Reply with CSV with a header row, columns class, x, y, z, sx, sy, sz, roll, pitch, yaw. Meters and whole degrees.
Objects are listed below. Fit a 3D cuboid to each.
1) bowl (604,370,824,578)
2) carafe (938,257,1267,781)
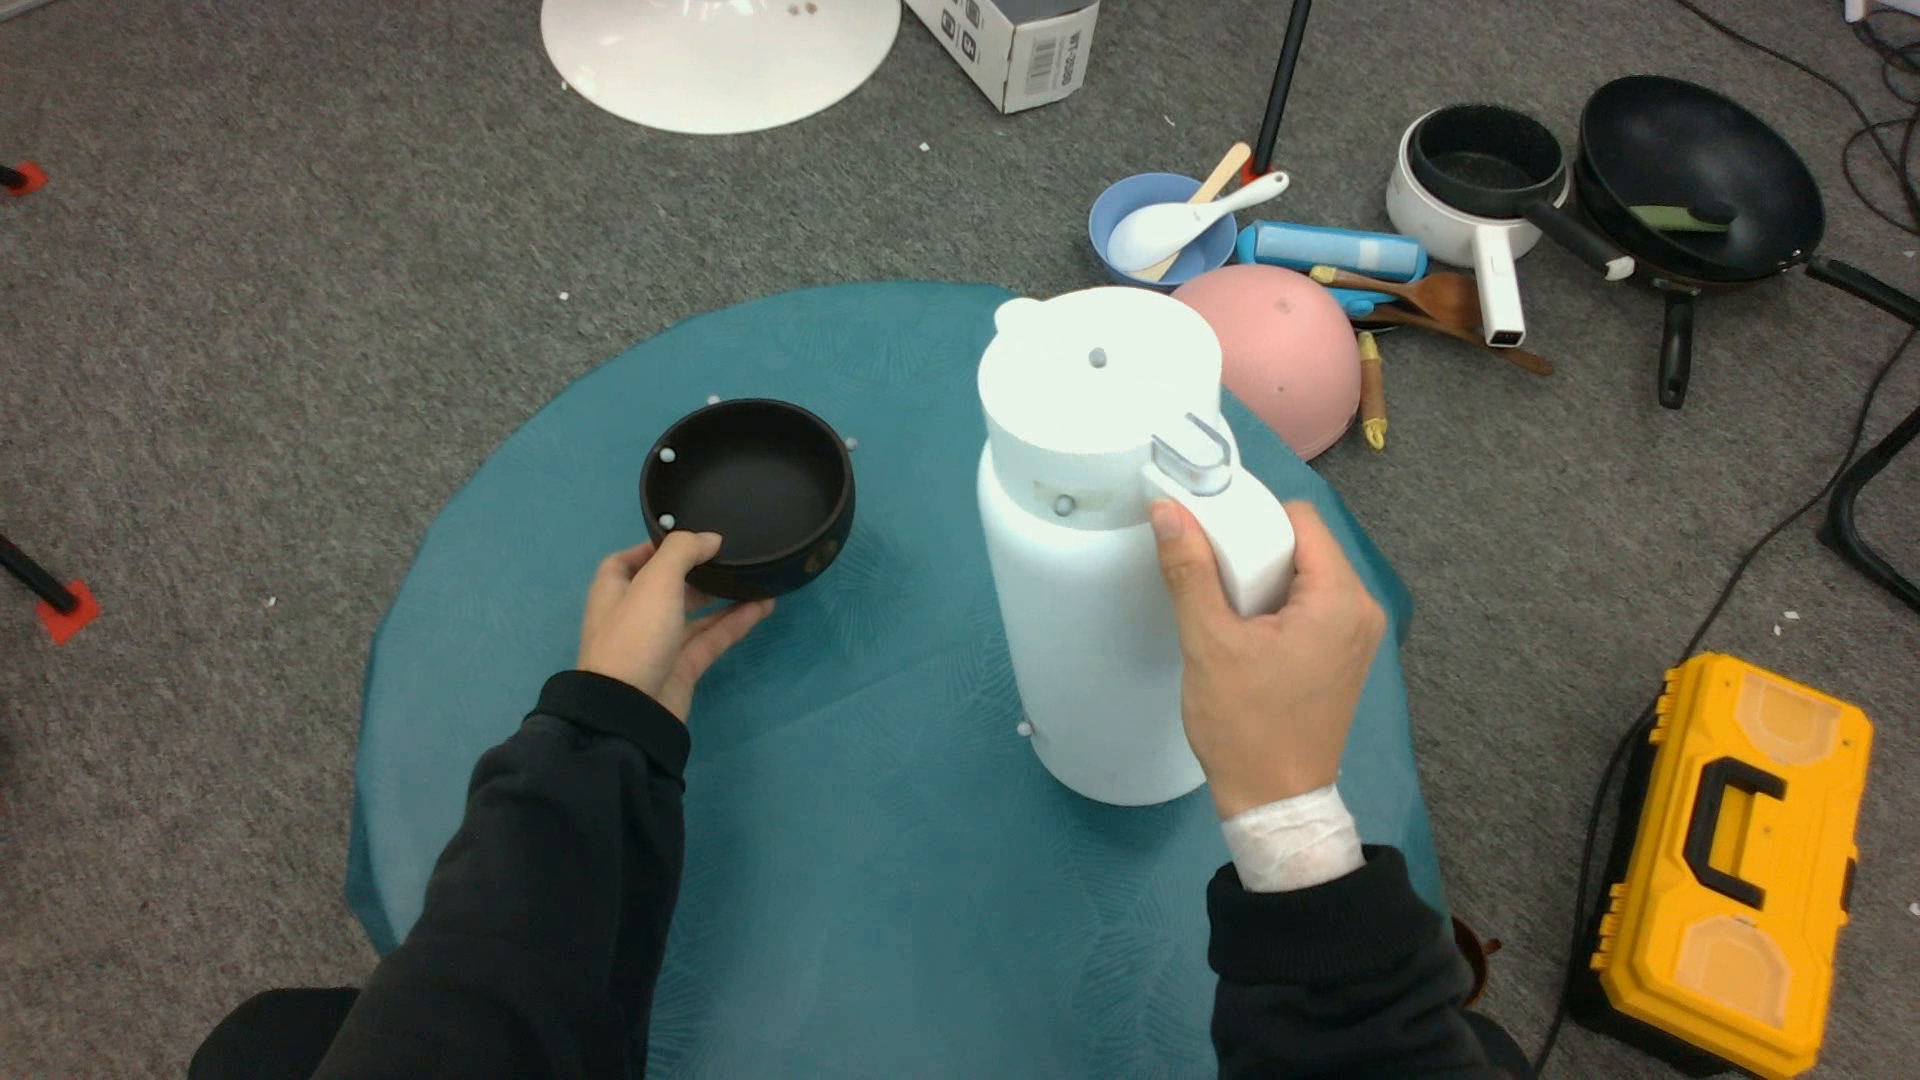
class,x,y,z,sx,sy,sz,roll,pitch,yaw
bowl,-0.135,-0.030,0.769,0.118,0.069,0.118,2,58,-2
carafe,0.072,0.009,0.644,0.124,0.267,0.173,-34,52,-19
